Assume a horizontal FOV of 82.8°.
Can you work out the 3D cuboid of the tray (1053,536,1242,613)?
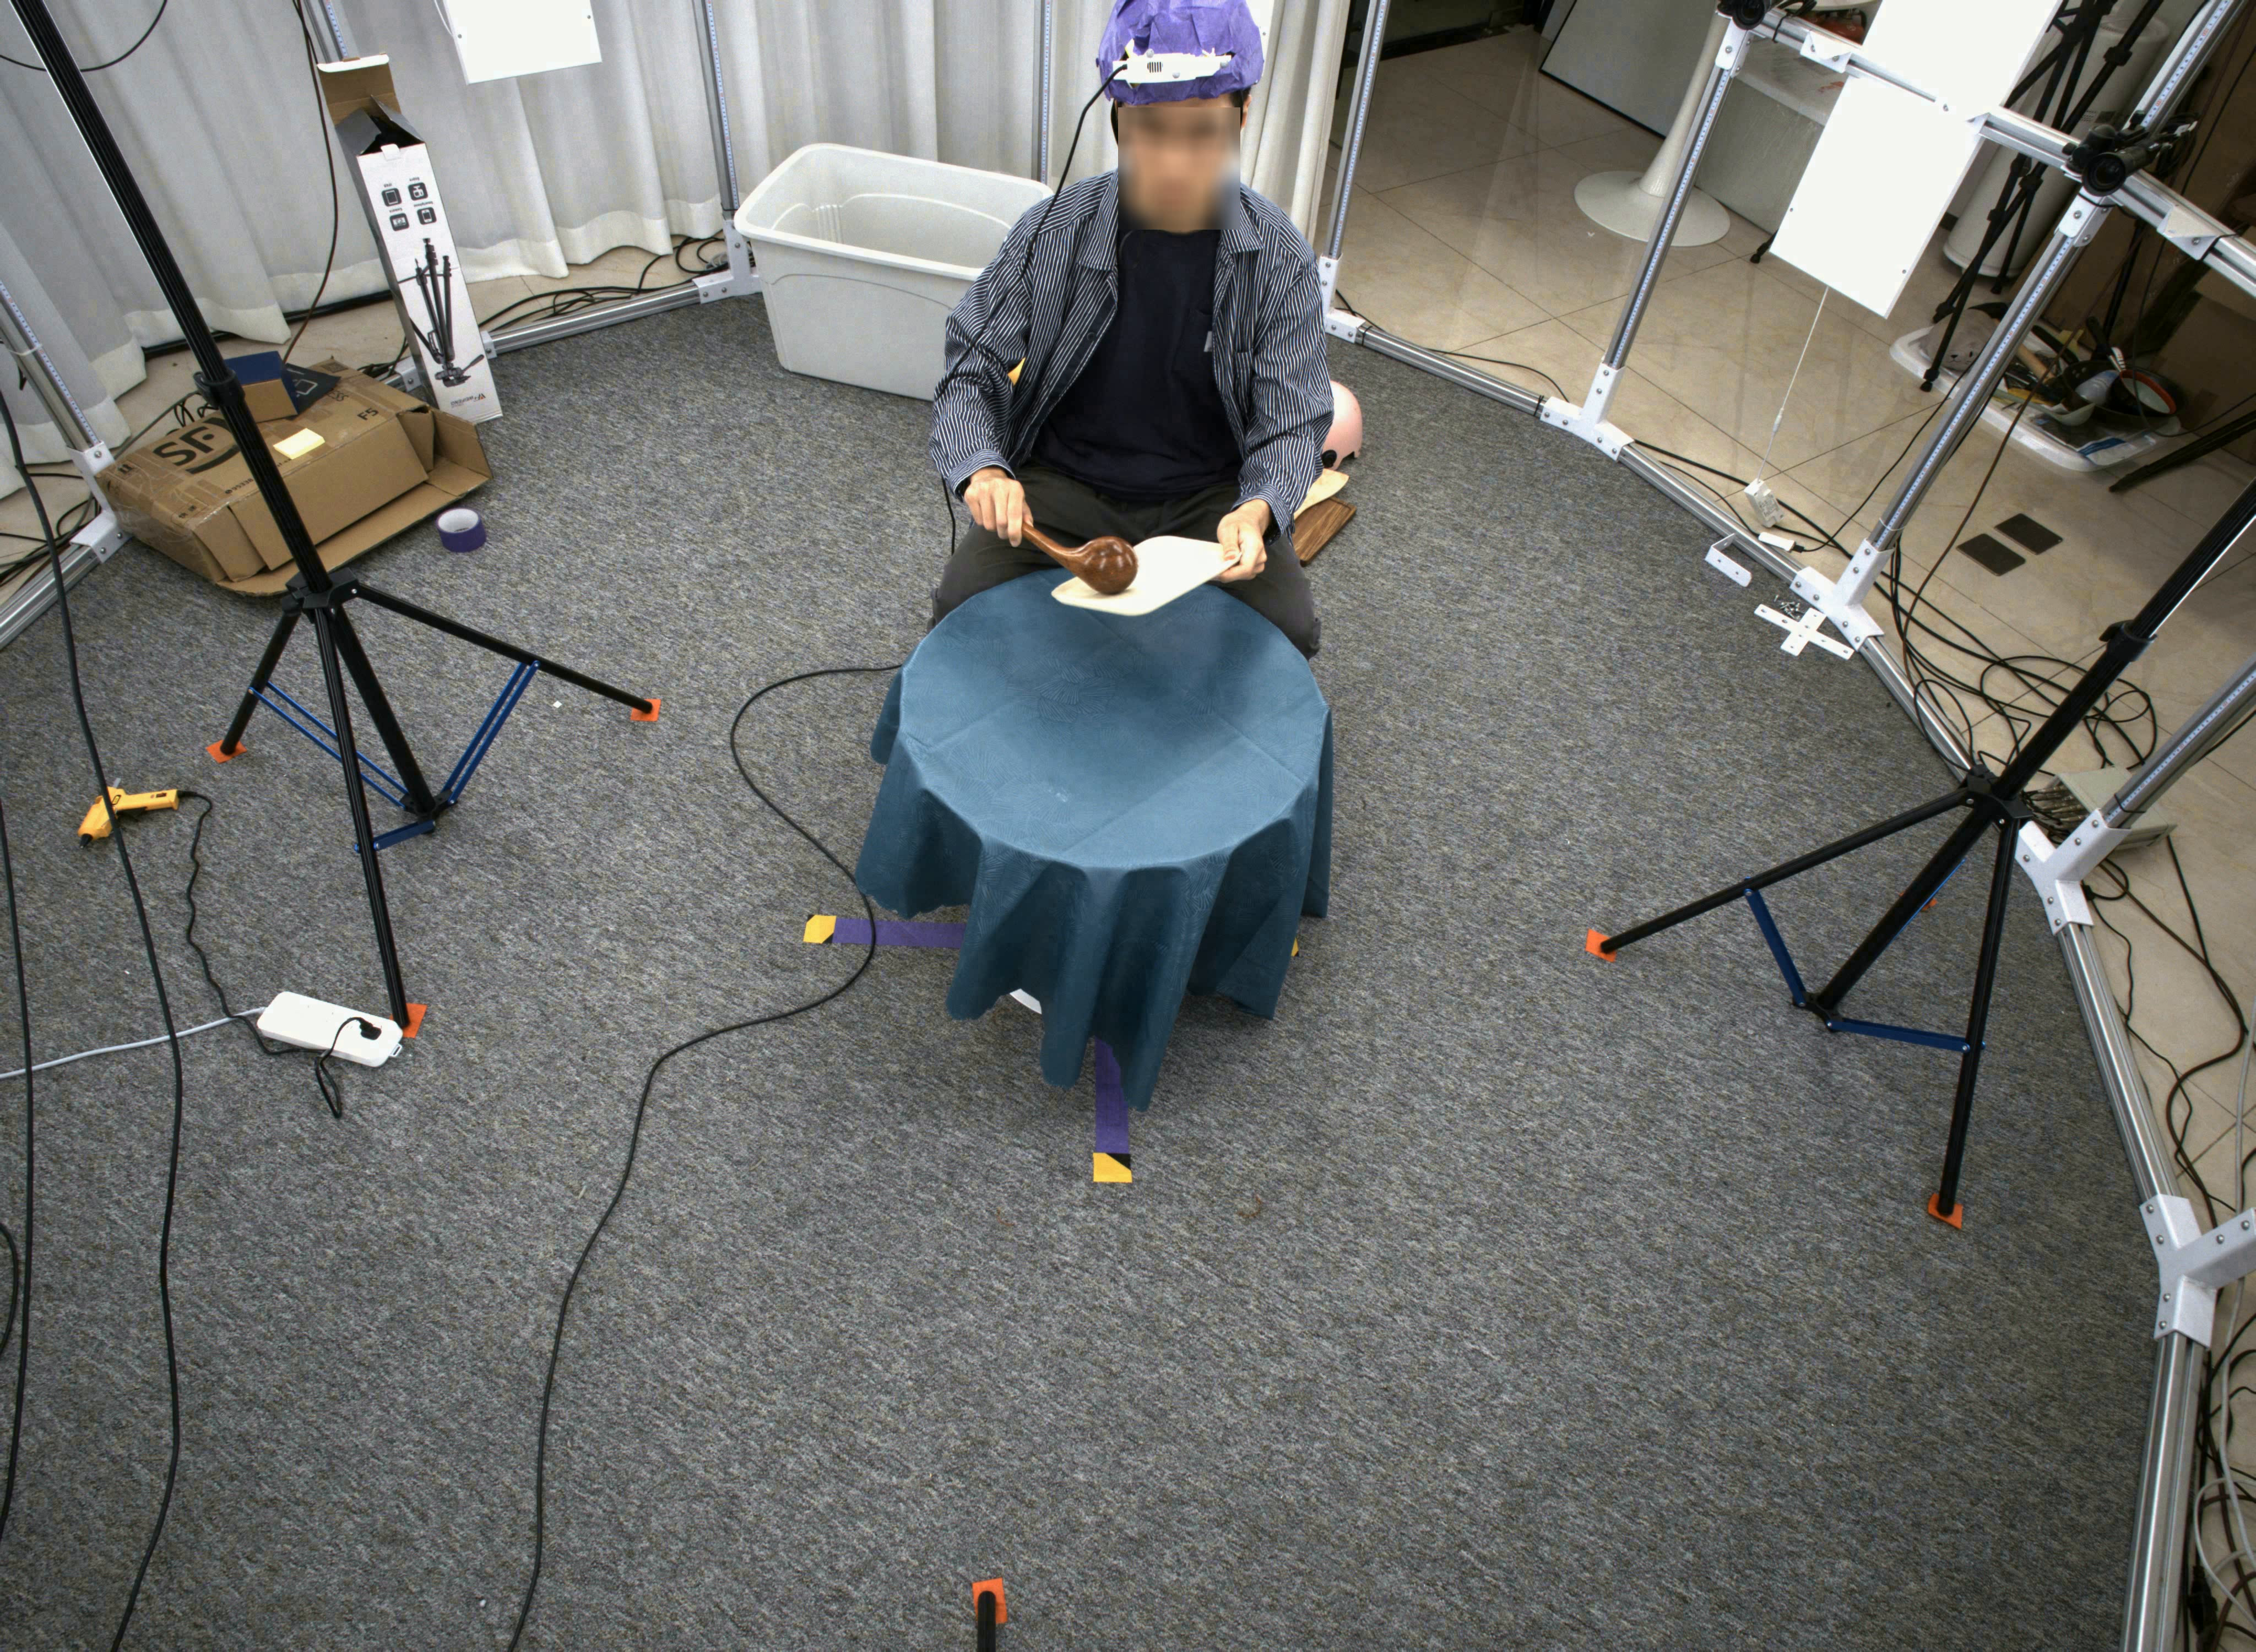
[{"bbox_3d":[0.029,-0.340,1.734,0.173,0.017,0.242,17,38,38],"label":"tray"}]

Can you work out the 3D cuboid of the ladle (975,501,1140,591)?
[{"bbox_3d":[-0.095,-0.396,1.748,0.077,0.080,0.279,-20,41,-37],"label":"ladle"}]
